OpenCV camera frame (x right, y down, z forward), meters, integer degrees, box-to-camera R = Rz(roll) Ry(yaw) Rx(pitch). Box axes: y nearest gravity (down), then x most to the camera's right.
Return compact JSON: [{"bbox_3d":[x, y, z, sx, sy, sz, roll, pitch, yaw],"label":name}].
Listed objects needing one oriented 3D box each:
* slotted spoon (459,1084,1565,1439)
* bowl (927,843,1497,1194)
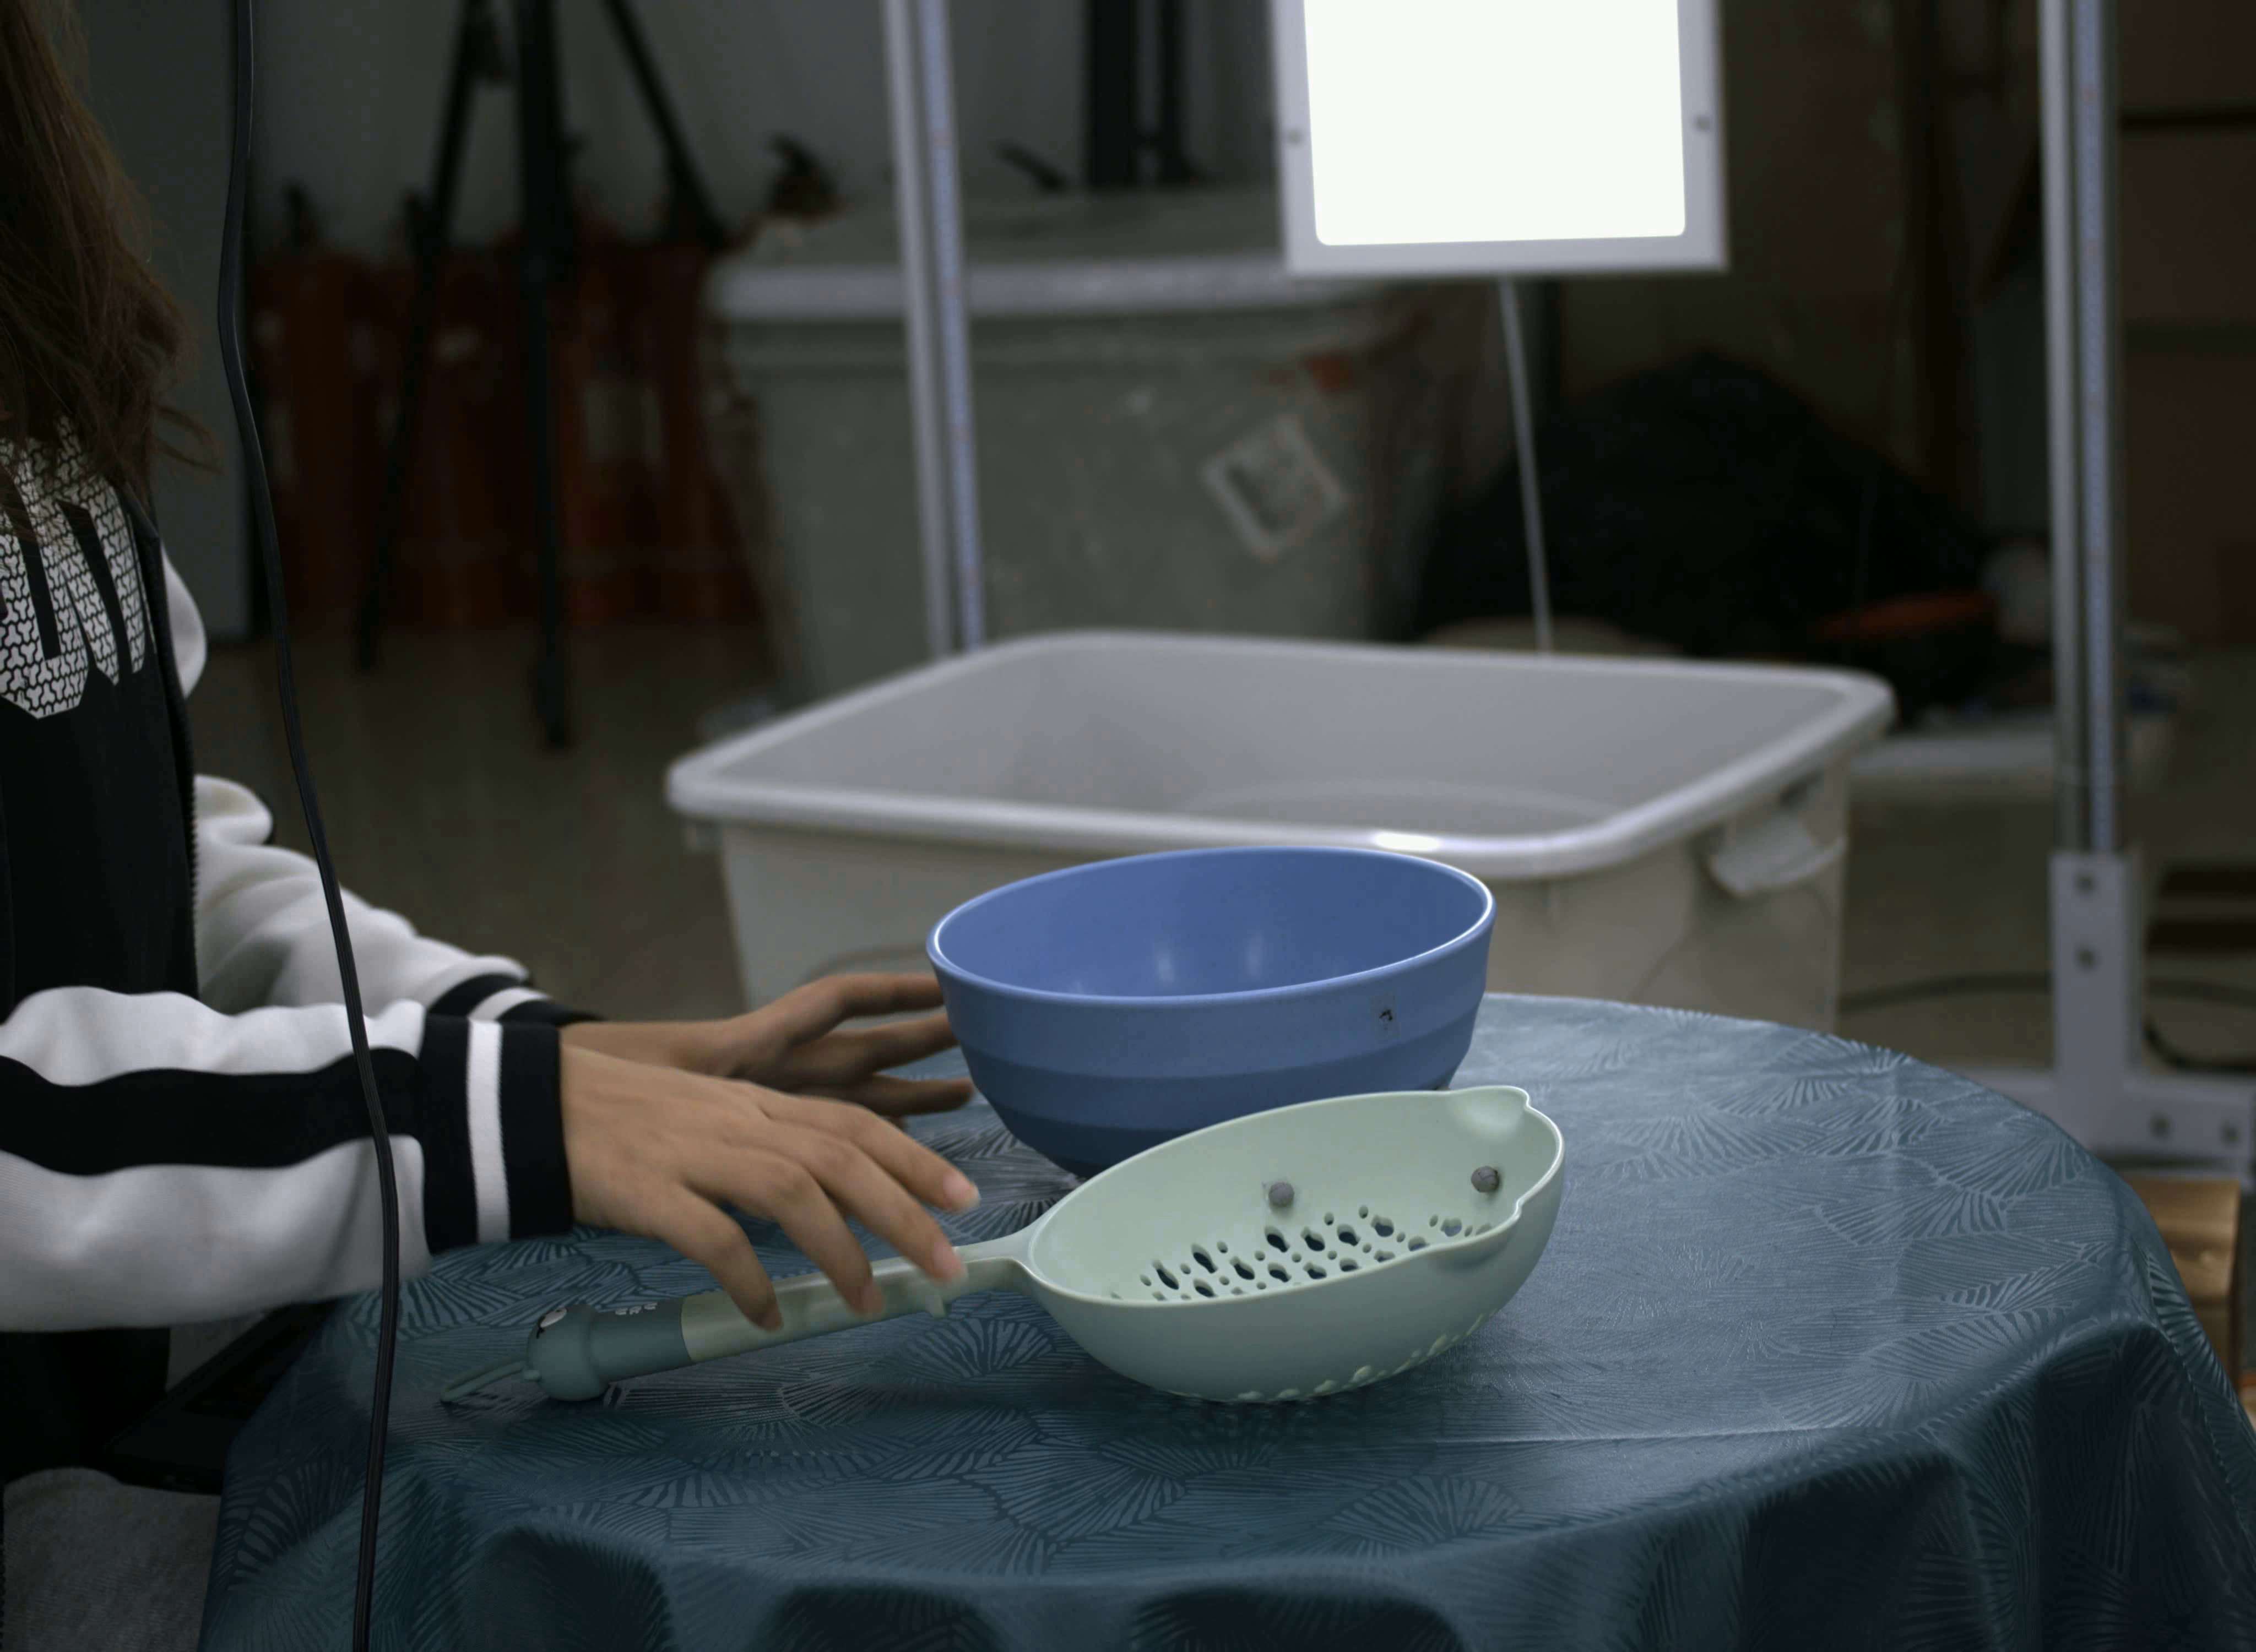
[{"bbox_3d":[-0.040,0.145,1.716,0.361,0.075,0.168,-4,14,10],"label":"slotted spoon"},{"bbox_3d":[0.032,0.077,1.891,0.196,0.096,0.196,-5,14,0],"label":"bowl"}]
